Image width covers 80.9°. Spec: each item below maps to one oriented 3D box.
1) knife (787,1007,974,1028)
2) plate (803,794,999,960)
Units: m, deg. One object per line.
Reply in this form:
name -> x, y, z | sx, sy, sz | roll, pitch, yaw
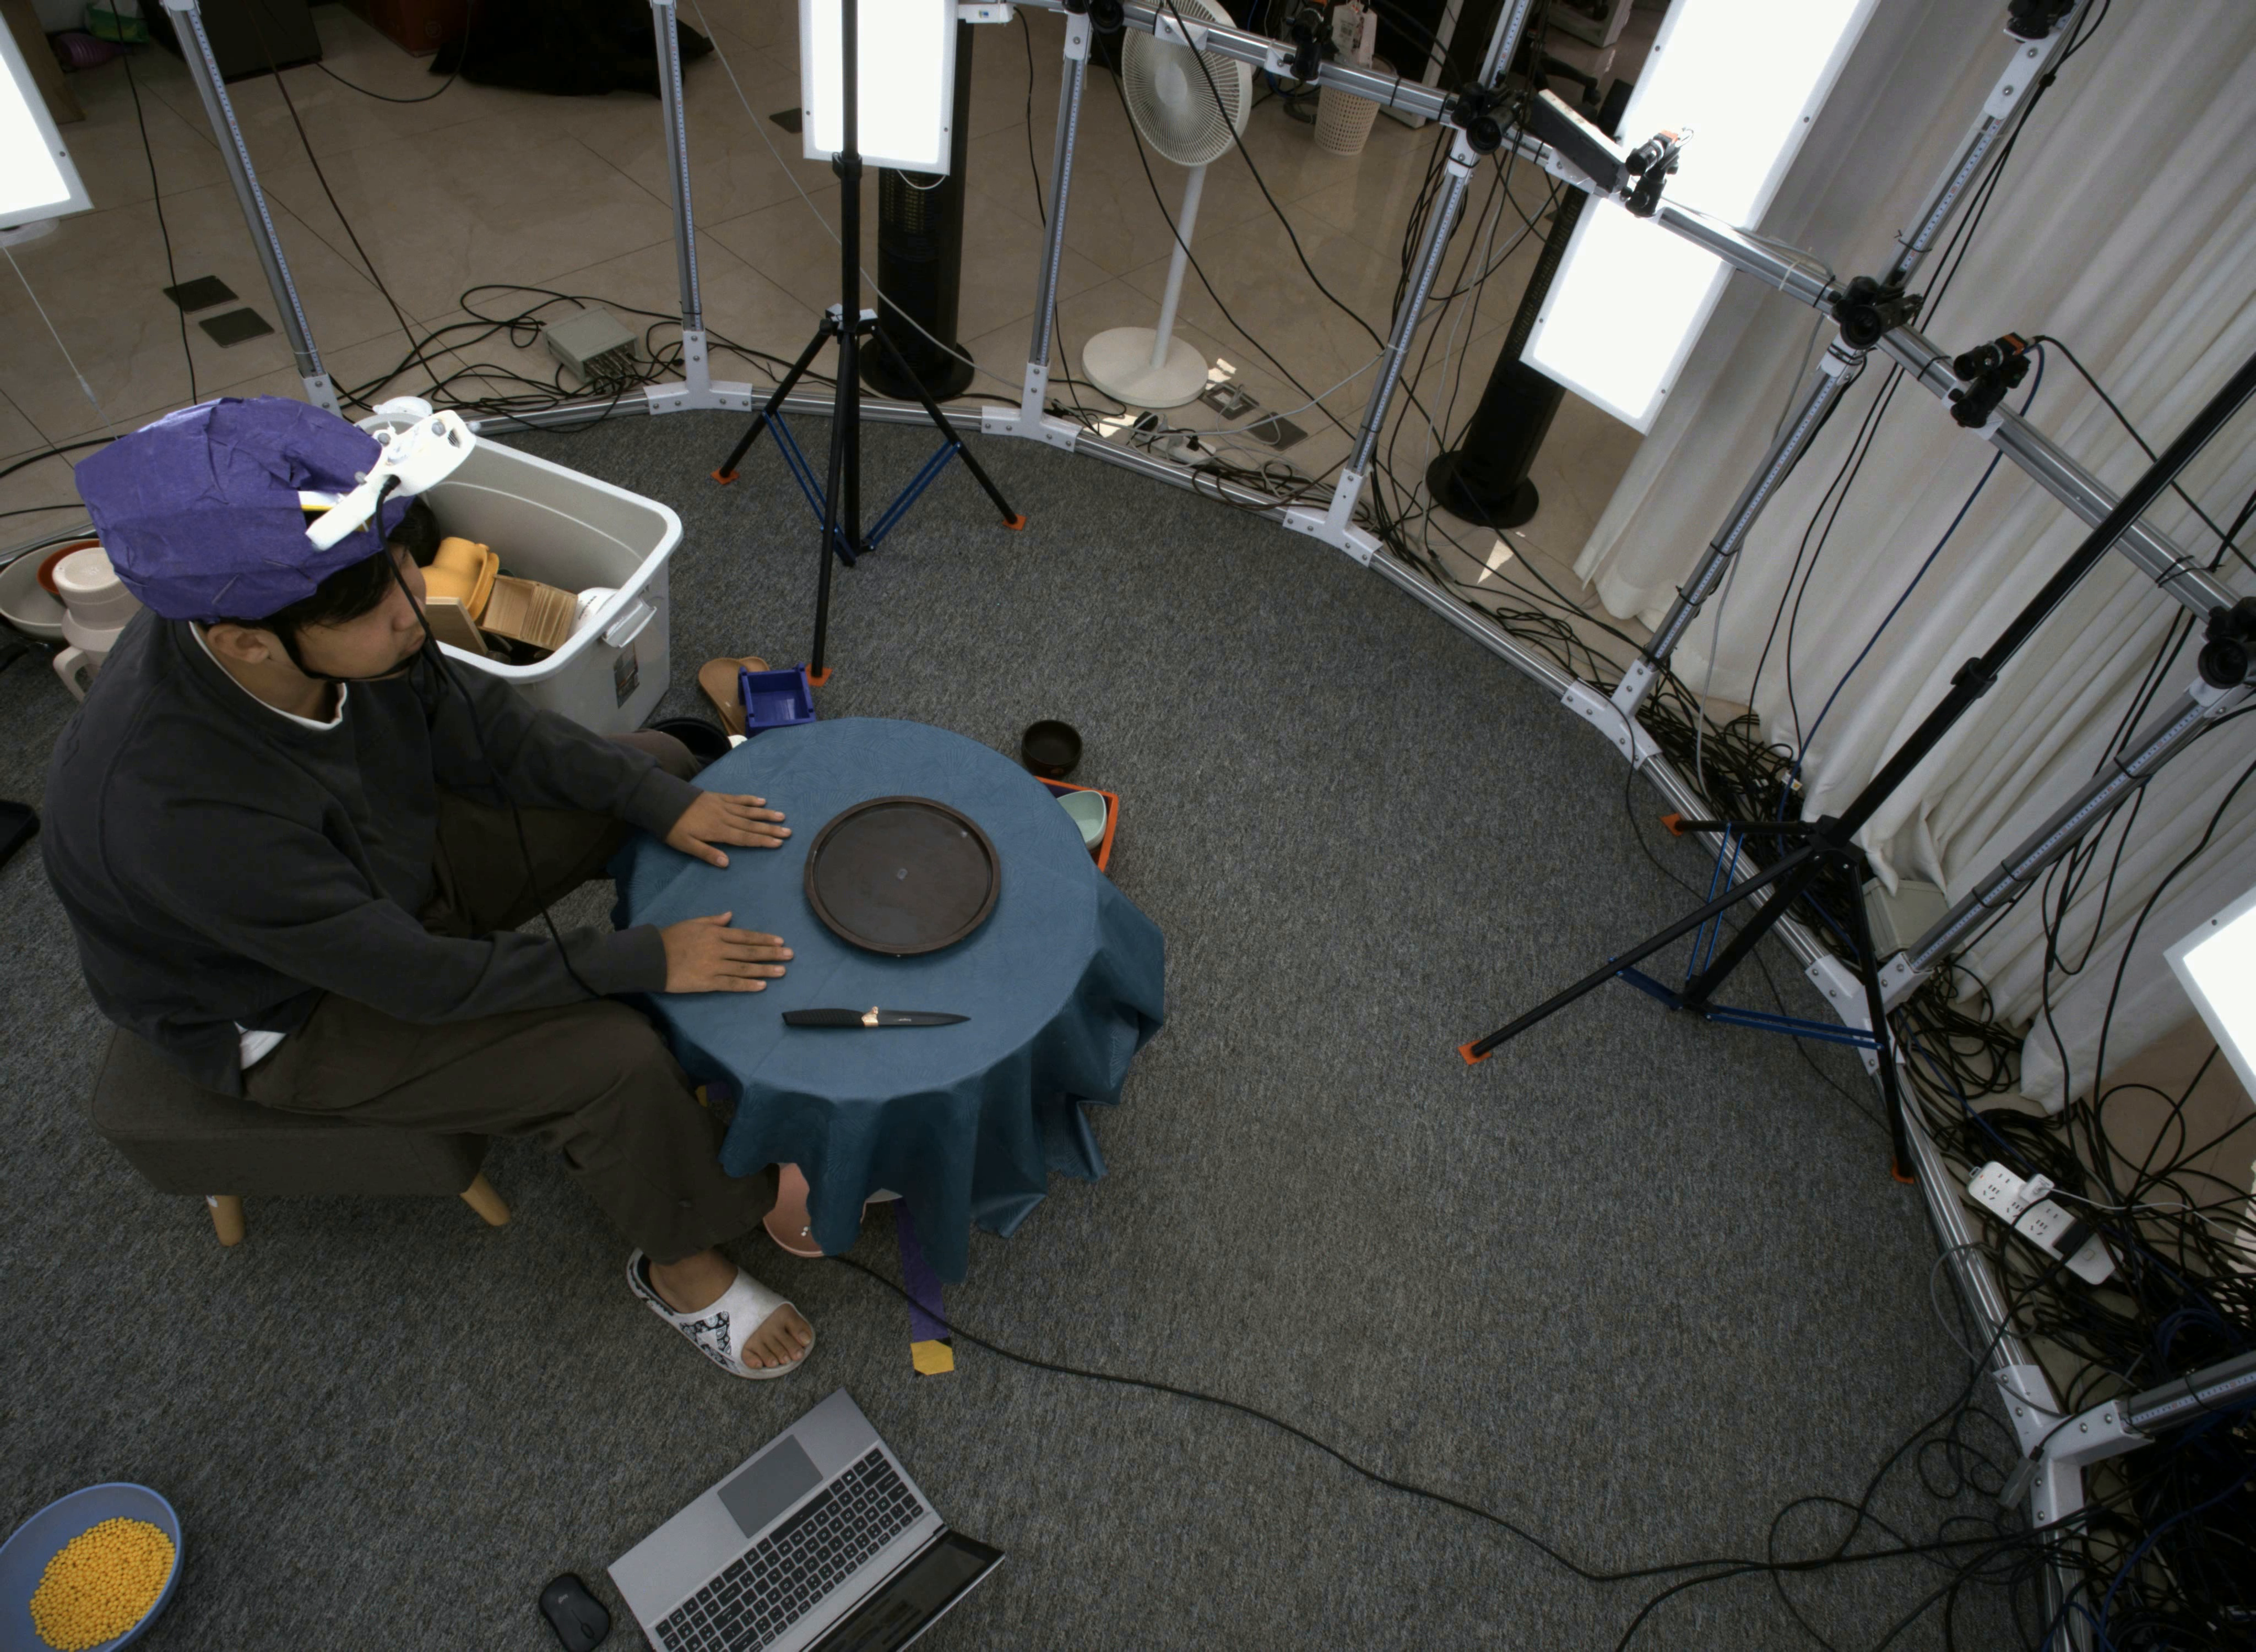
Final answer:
knife -> -0.298, 0.229, 1.574 | 0.226, 0.017, 0.025 | 1, 48, -14
plate -> -0.293, 0.063, 1.691 | 0.254, 0.029, 0.250 | 7, 54, -8
